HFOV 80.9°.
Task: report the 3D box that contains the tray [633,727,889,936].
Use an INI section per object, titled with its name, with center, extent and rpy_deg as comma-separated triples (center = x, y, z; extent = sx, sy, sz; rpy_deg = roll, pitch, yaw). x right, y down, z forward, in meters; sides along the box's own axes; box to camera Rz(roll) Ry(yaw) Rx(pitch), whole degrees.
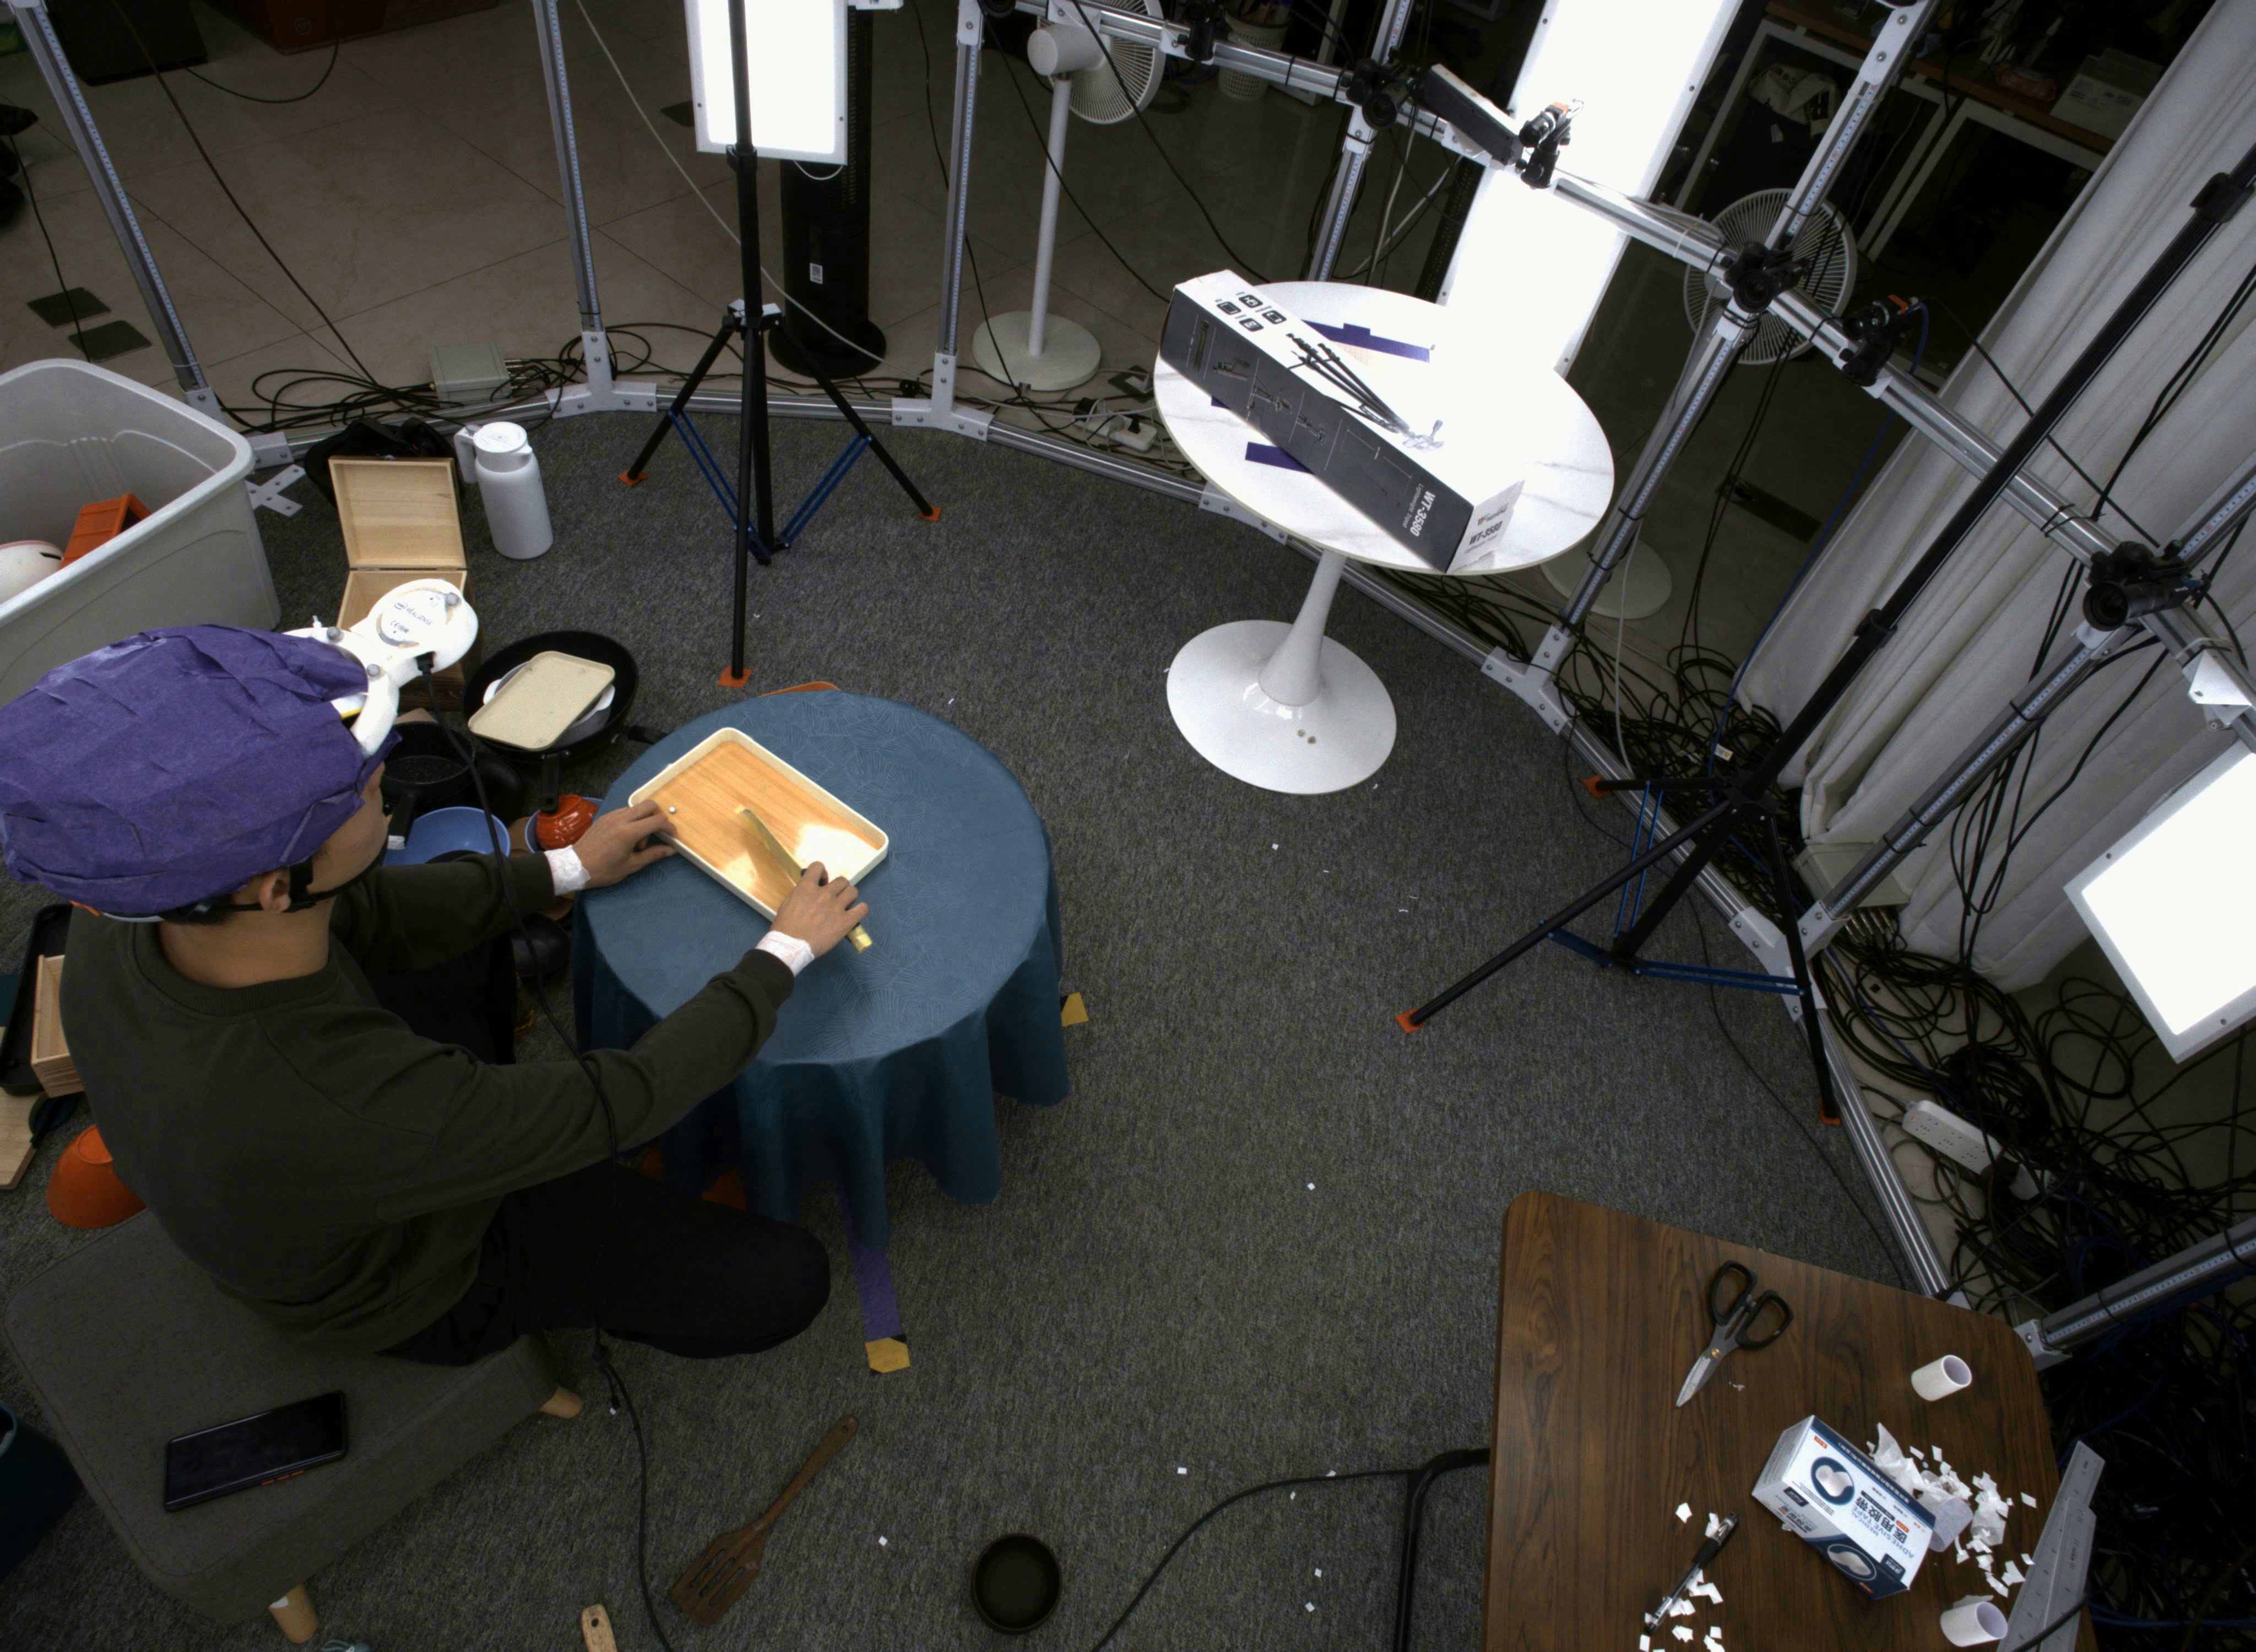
[tray]
center = -0.483, 0.001, 1.701
extent = 0.295, 0.028, 0.191
rpy_deg = 34, 53, 11

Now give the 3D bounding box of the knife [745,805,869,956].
[knife]
center = -0.408, 0.066, 1.626
extent = 0.027, 0.083, 0.281
rpy_deg = -35, 62, -22
